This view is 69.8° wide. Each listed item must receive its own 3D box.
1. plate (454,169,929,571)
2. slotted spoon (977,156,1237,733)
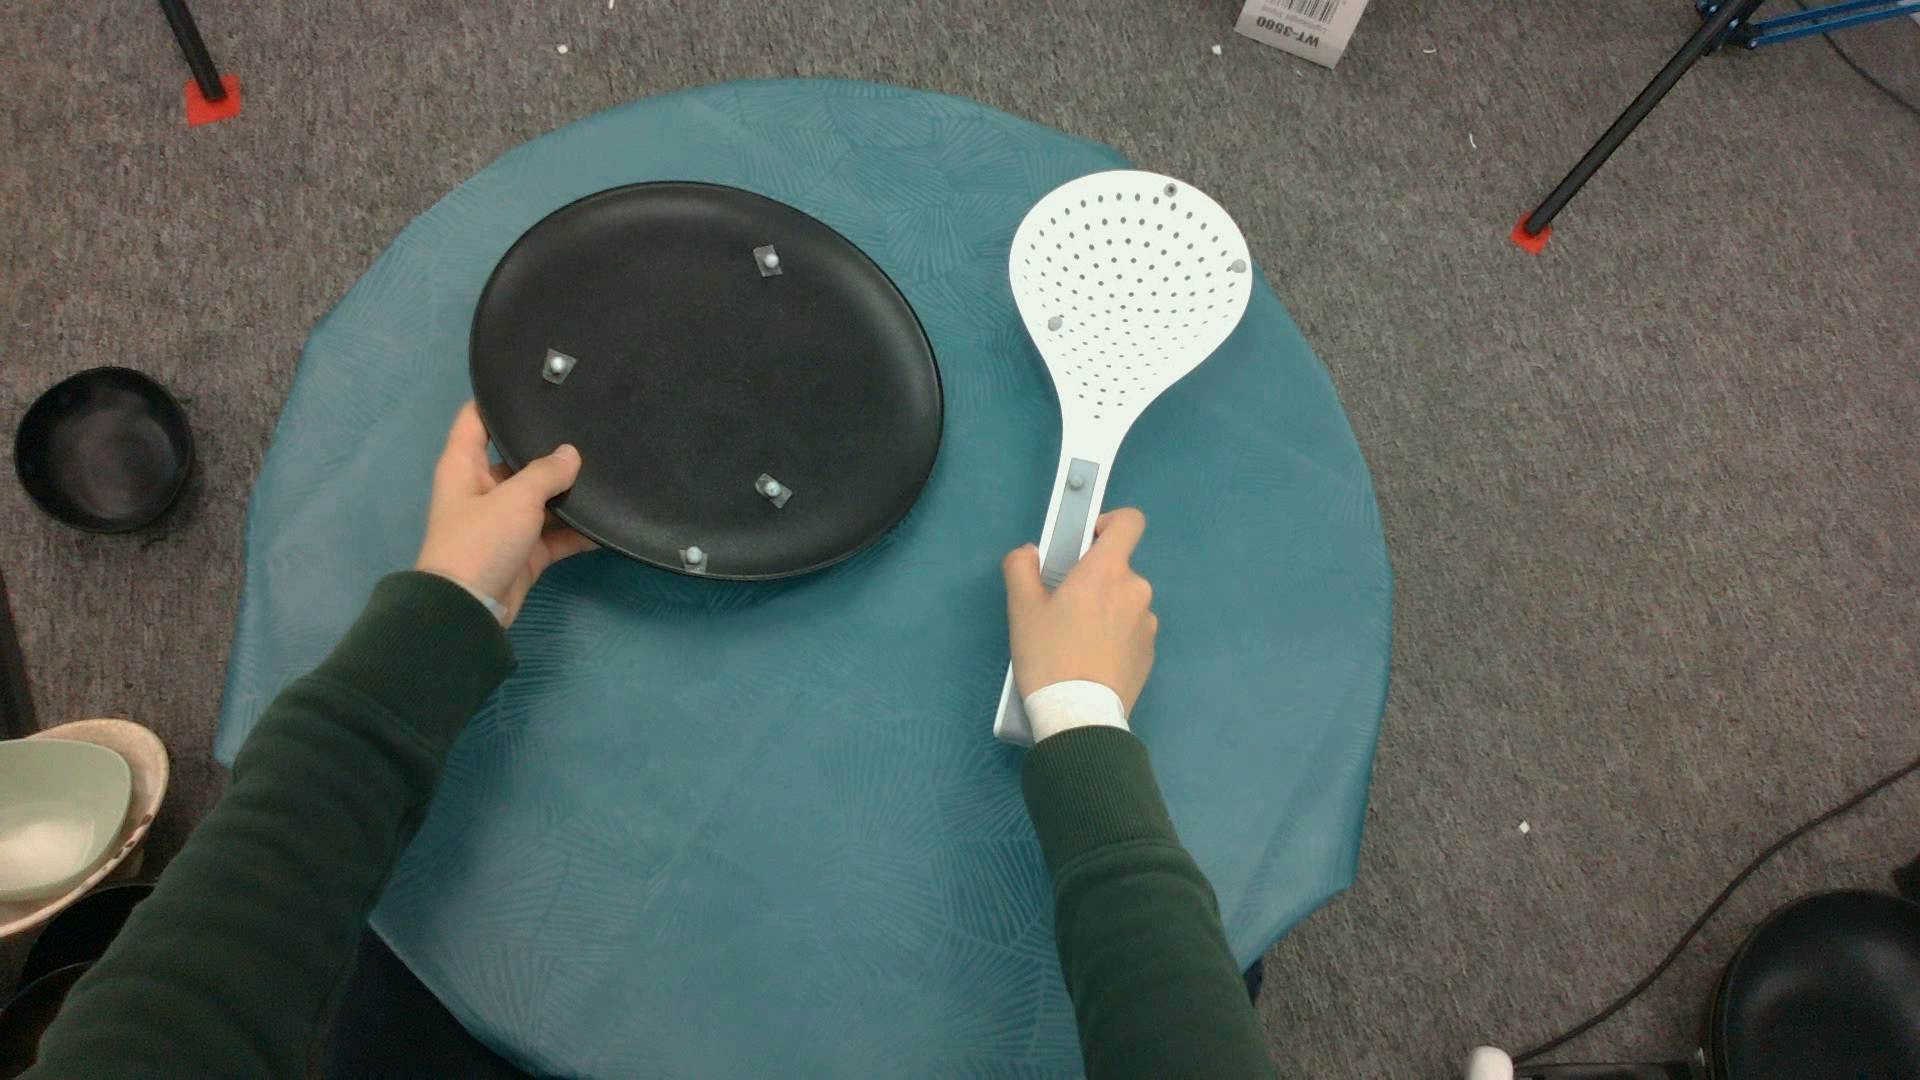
[{"bbox_3d":[-0.135,-0.091,0.719,0.244,0.023,0.245,10,61,-17],"label":"plate"},{"bbox_3d":[0.063,-0.063,0.741,0.136,0.045,0.351,13,62,5],"label":"slotted spoon"}]
